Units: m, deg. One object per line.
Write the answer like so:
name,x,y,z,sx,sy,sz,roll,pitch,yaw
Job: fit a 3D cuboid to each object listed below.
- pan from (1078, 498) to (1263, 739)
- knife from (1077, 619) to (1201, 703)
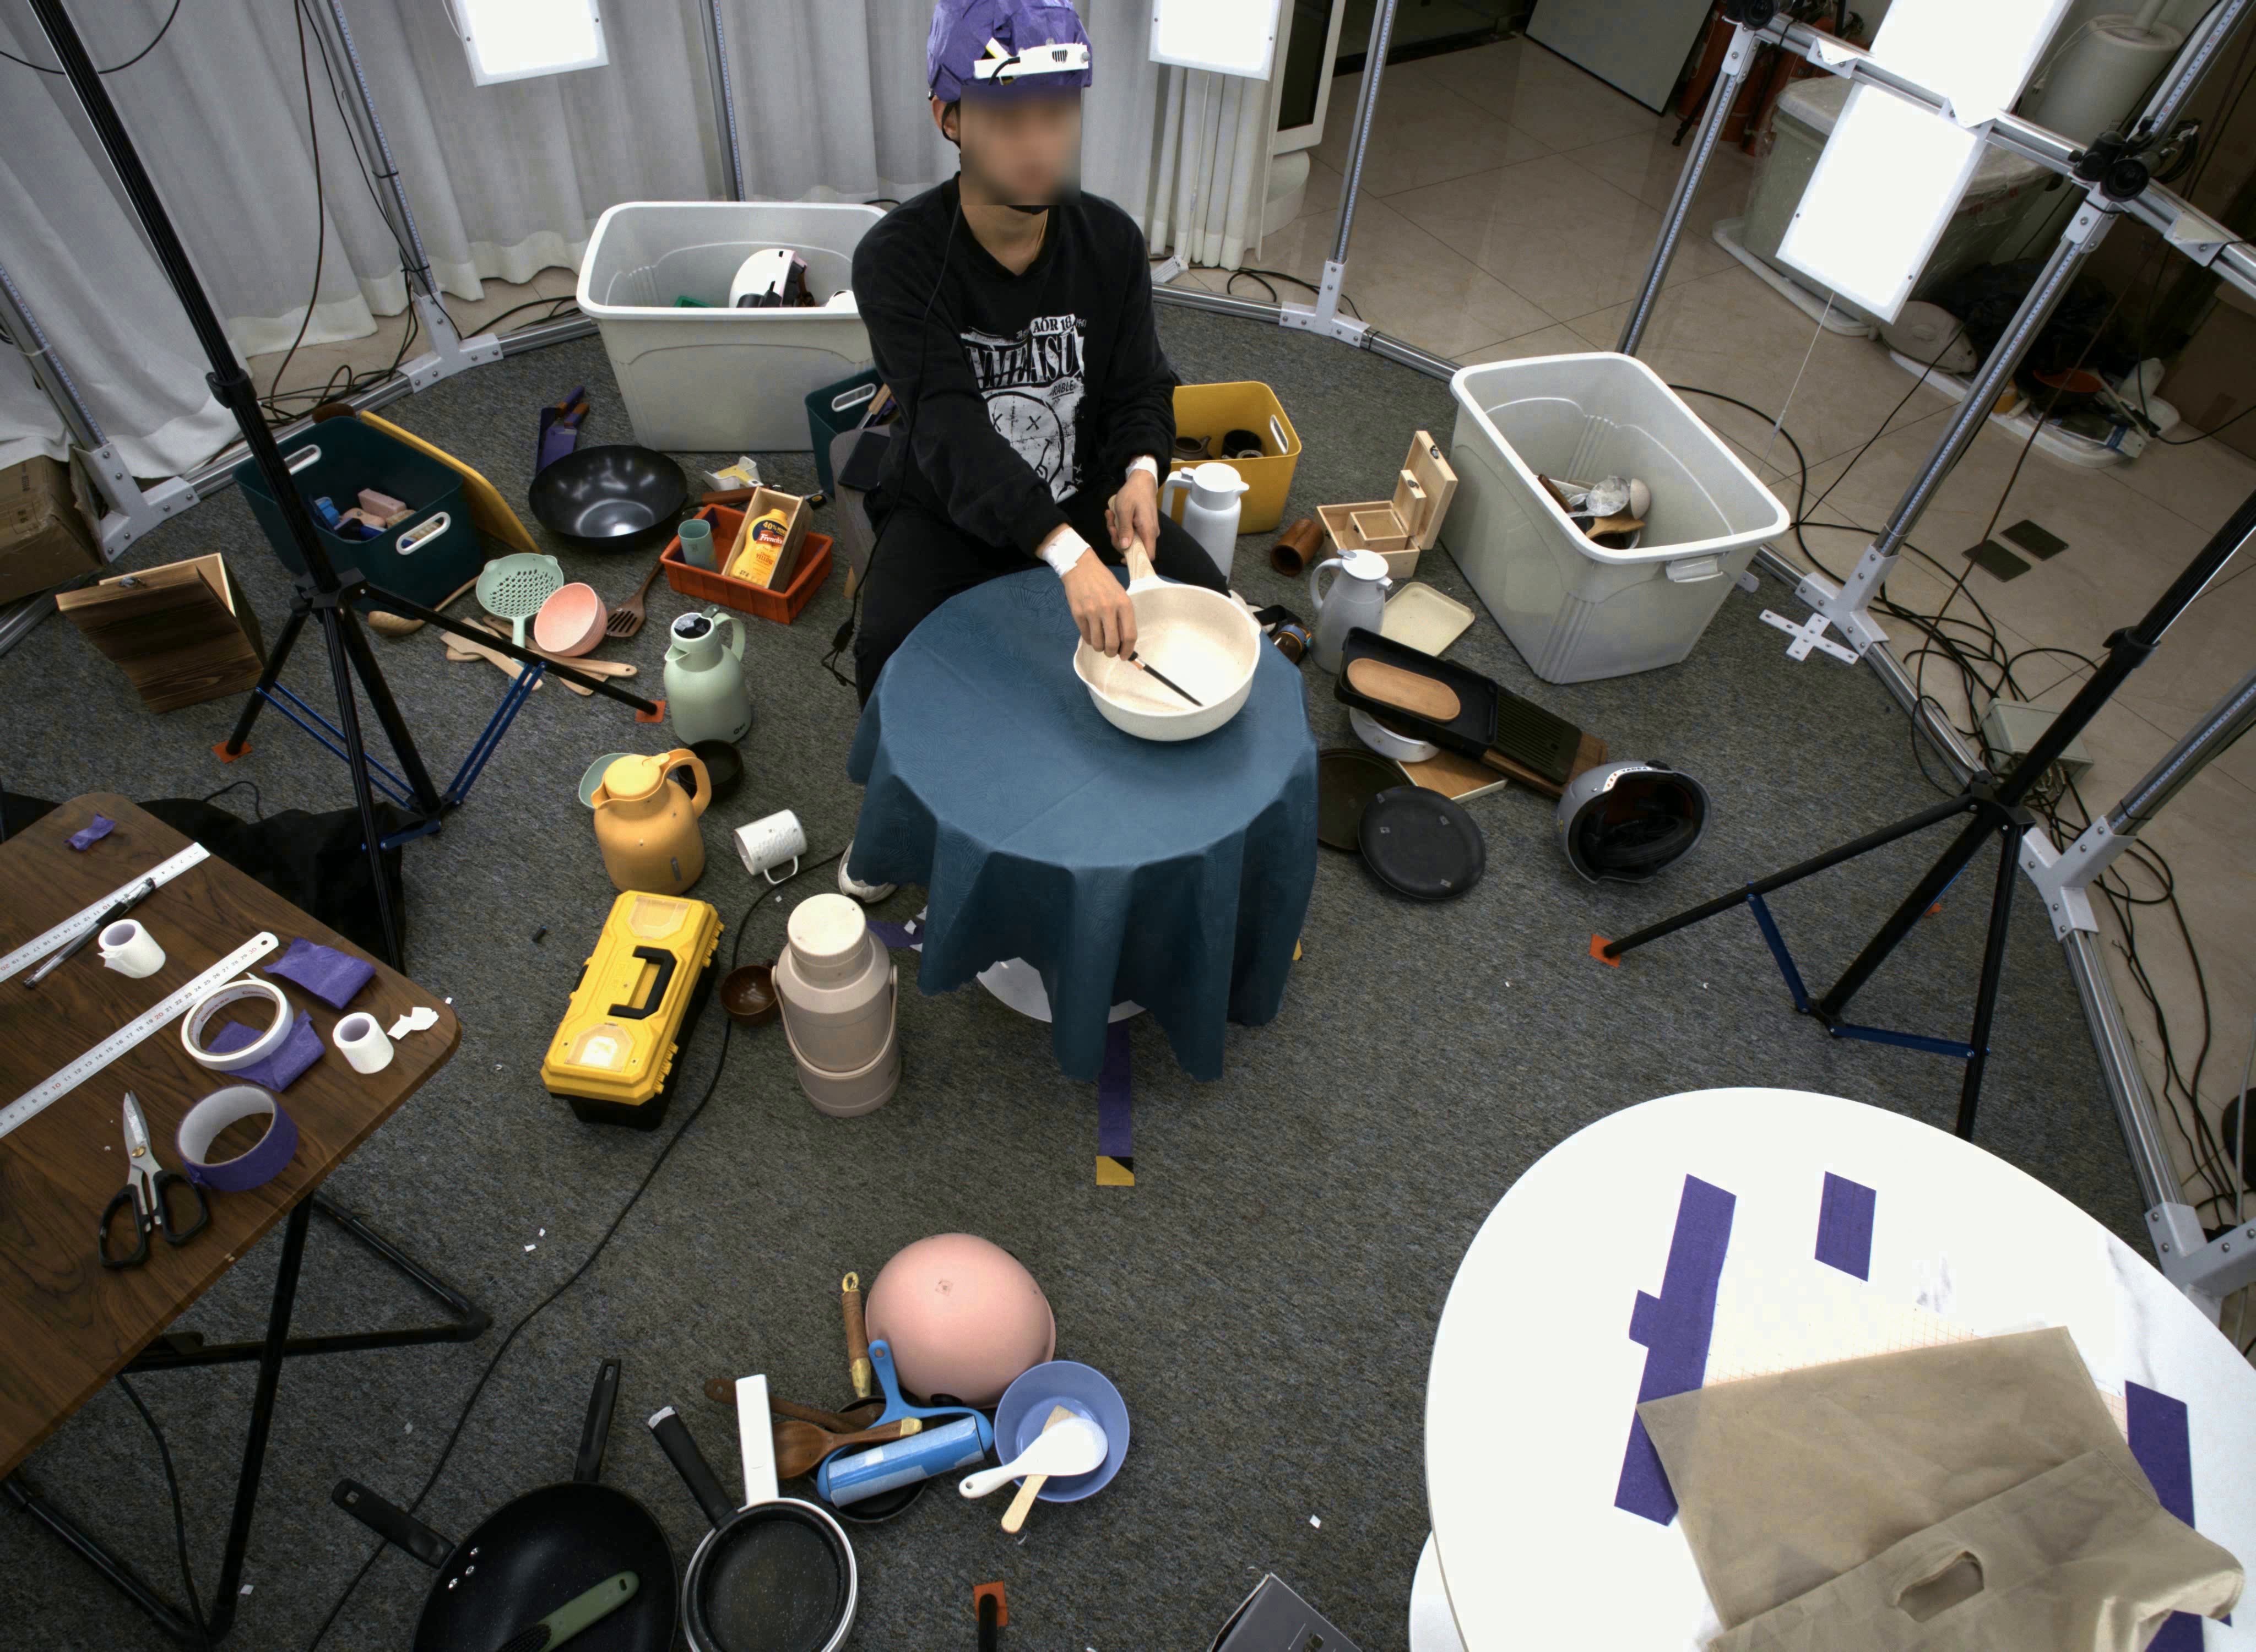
pan,0.040,-0.300,1.850,0.263,0.099,0.446,-15,52,-4
knife,0.025,-0.220,1.777,0.225,0.026,0.017,33,63,-2
